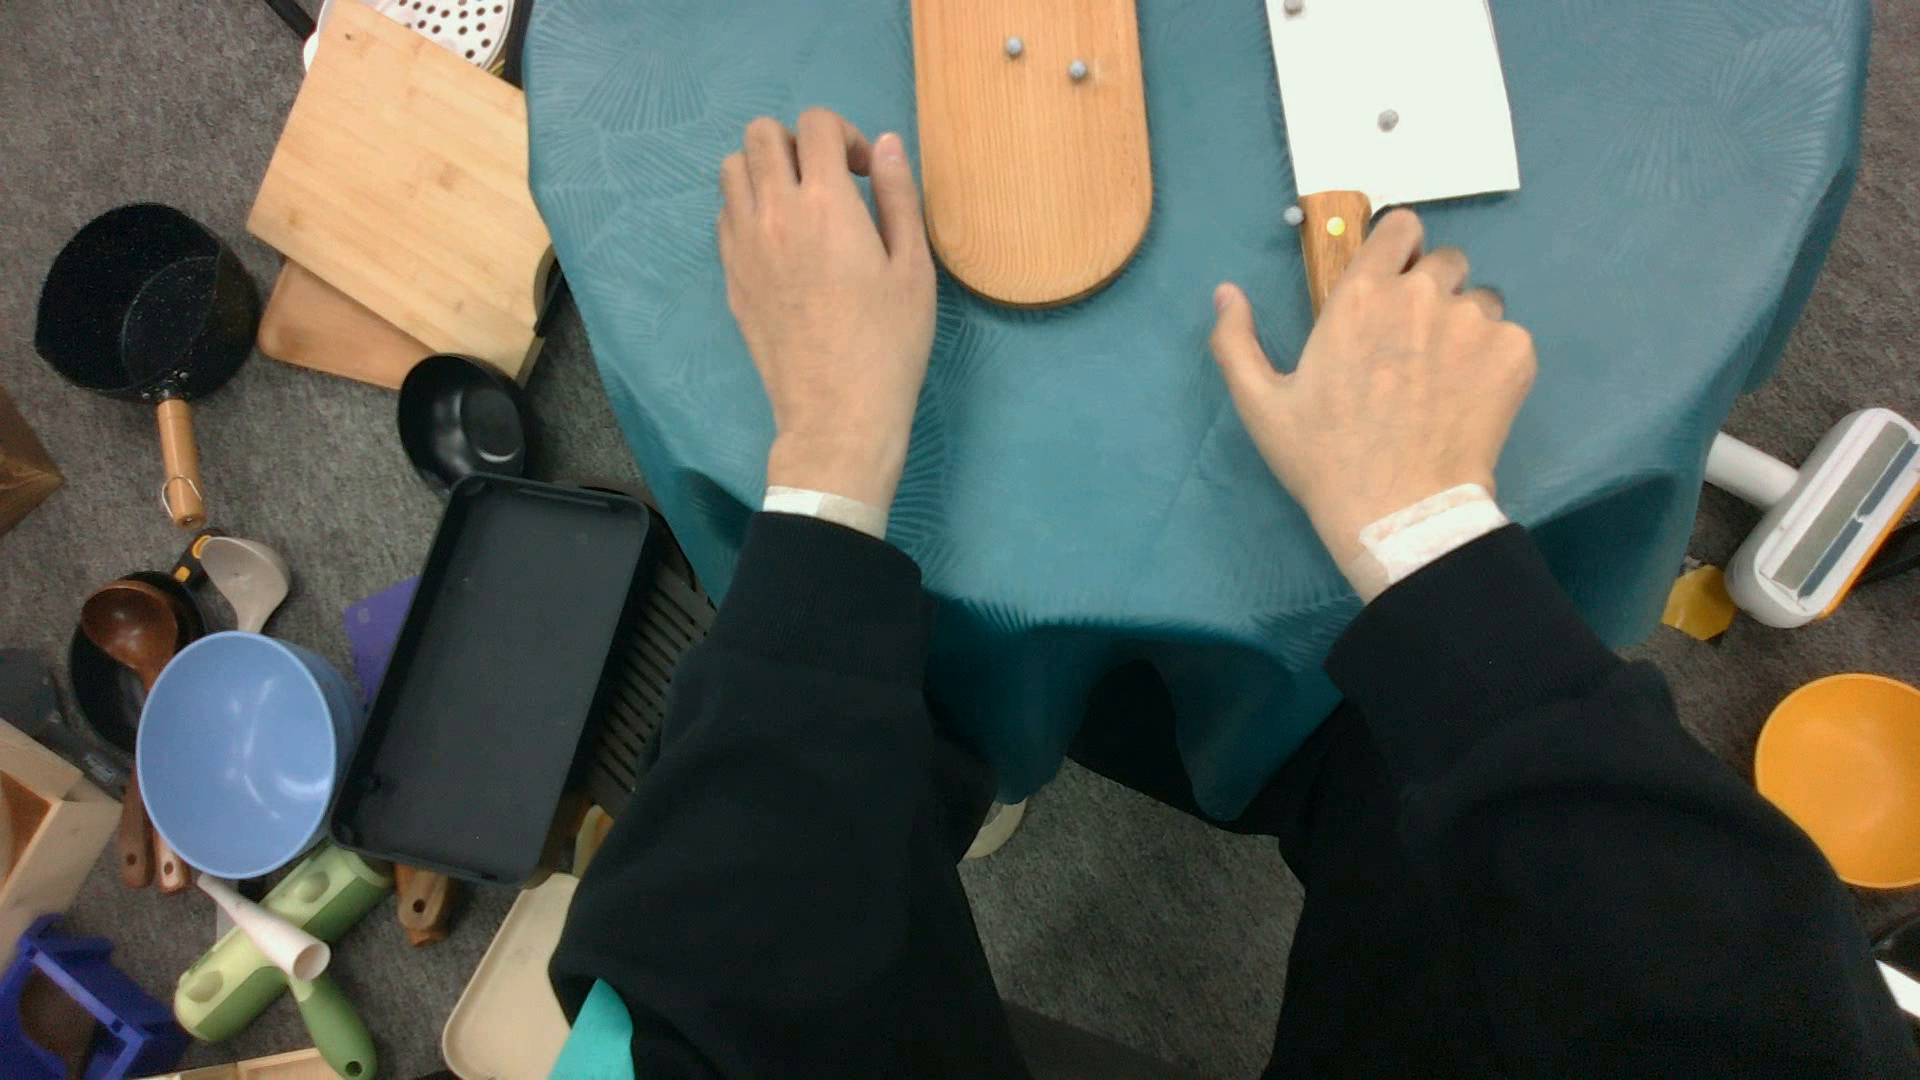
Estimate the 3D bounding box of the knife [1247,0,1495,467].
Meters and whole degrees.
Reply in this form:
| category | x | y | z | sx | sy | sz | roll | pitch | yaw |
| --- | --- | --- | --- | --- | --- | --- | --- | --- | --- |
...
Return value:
| category | x | y | z | sx | sy | sz | roll | pitch | yaw |
| --- | --- | --- | --- | --- | --- | --- | --- | --- | --- |
| knife | 0.176 | -0.179 | 0.589 | 0.093 | 0.021 | 0.306 | -6 | 73 | 6 |

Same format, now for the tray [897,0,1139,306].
| category | x | y | z | sx | sy | sz | roll | pitch | yaw |
| --- | --- | --- | --- | --- | --- | --- | --- | --- | --- |
| tray | 0.024 | -0.212 | 0.619 | 0.101 | 0.020 | 0.231 | -5 | 76 | 8 |
